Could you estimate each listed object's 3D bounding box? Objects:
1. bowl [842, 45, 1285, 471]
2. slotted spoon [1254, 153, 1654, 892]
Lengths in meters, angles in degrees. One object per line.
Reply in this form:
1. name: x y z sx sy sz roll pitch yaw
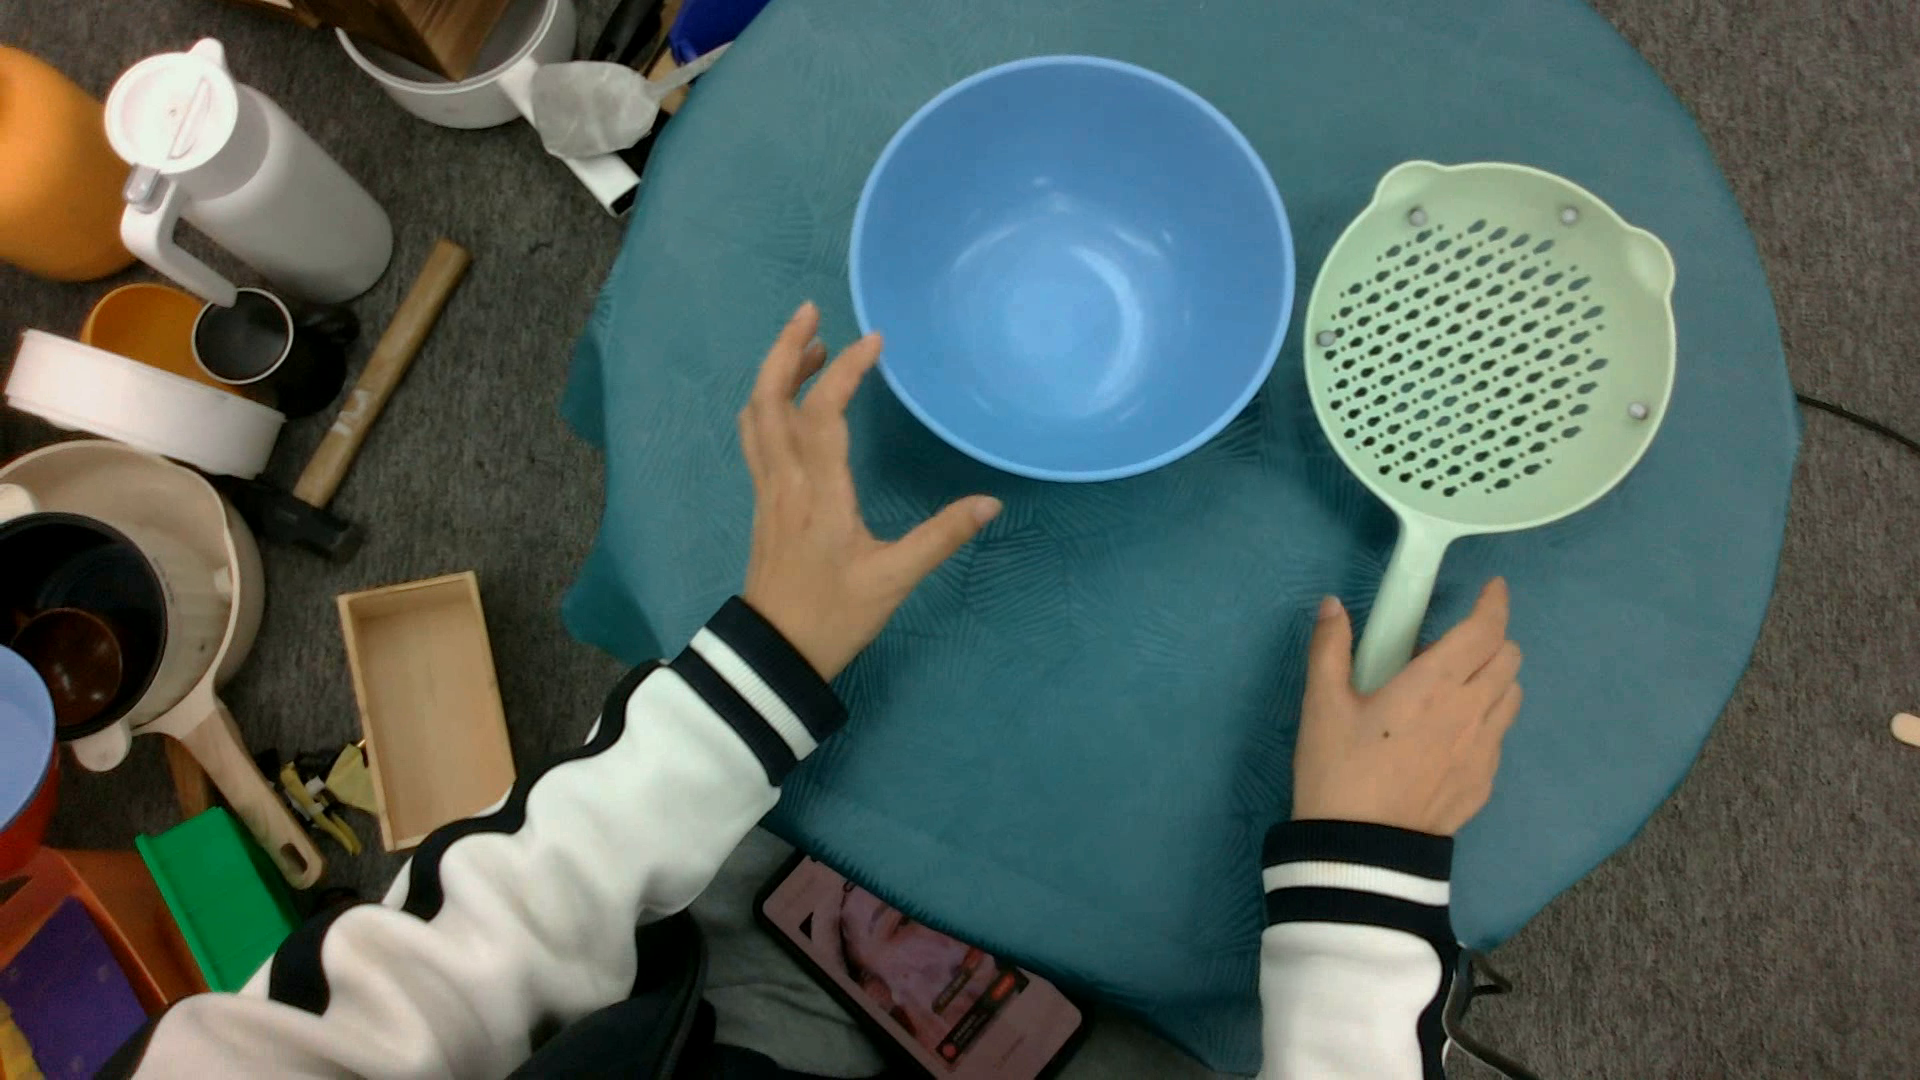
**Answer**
1. bowl: 0.045 -0.120 0.652 0.196 0.095 0.197 0 81 -2
2. slotted spoon: 0.207 -0.003 0.654 0.169 0.075 0.359 19 82 3
